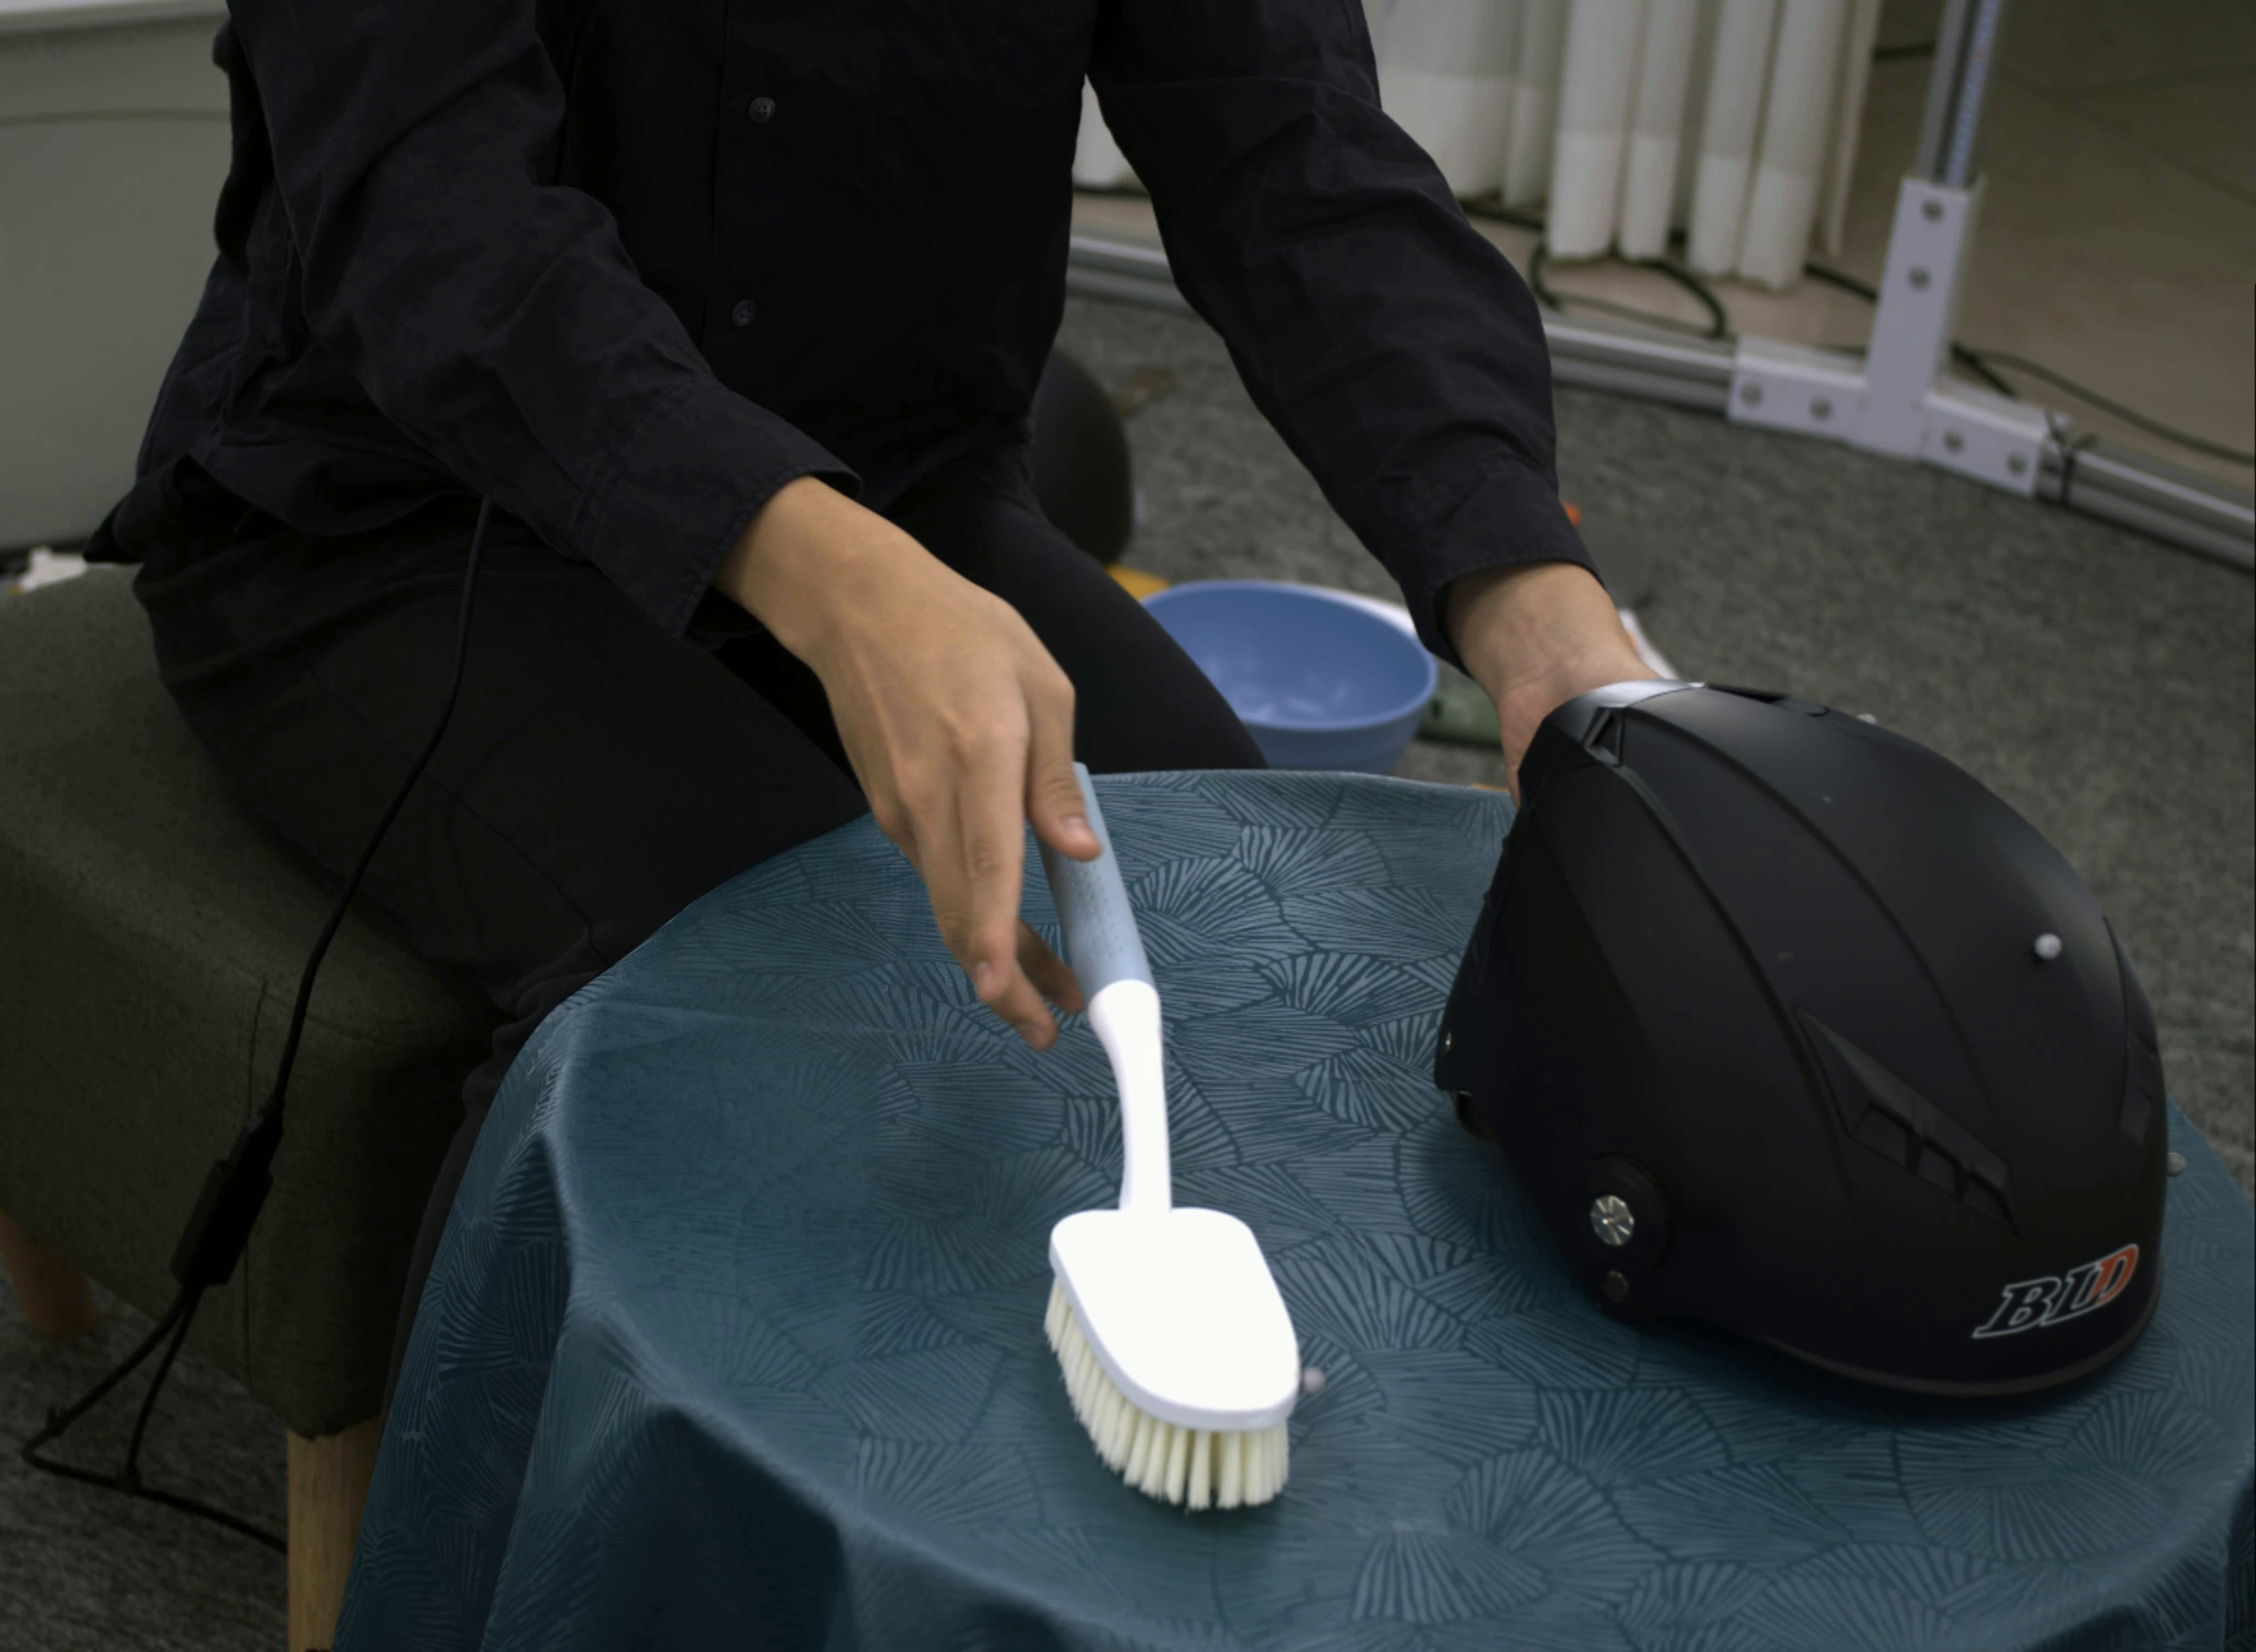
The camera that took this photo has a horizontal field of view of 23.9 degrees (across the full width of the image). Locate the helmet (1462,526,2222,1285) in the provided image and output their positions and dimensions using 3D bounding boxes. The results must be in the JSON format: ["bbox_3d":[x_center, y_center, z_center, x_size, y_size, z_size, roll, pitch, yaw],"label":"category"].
[{"bbox_3d":[0.252,0.018,1.821,0.245,0.172,0.279,-13,42,-32],"label":"helmet"}]

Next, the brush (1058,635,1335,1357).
[{"bbox_3d":[0.015,0.064,1.776,0.082,0.084,0.328,34,25,-34],"label":"brush"}]
